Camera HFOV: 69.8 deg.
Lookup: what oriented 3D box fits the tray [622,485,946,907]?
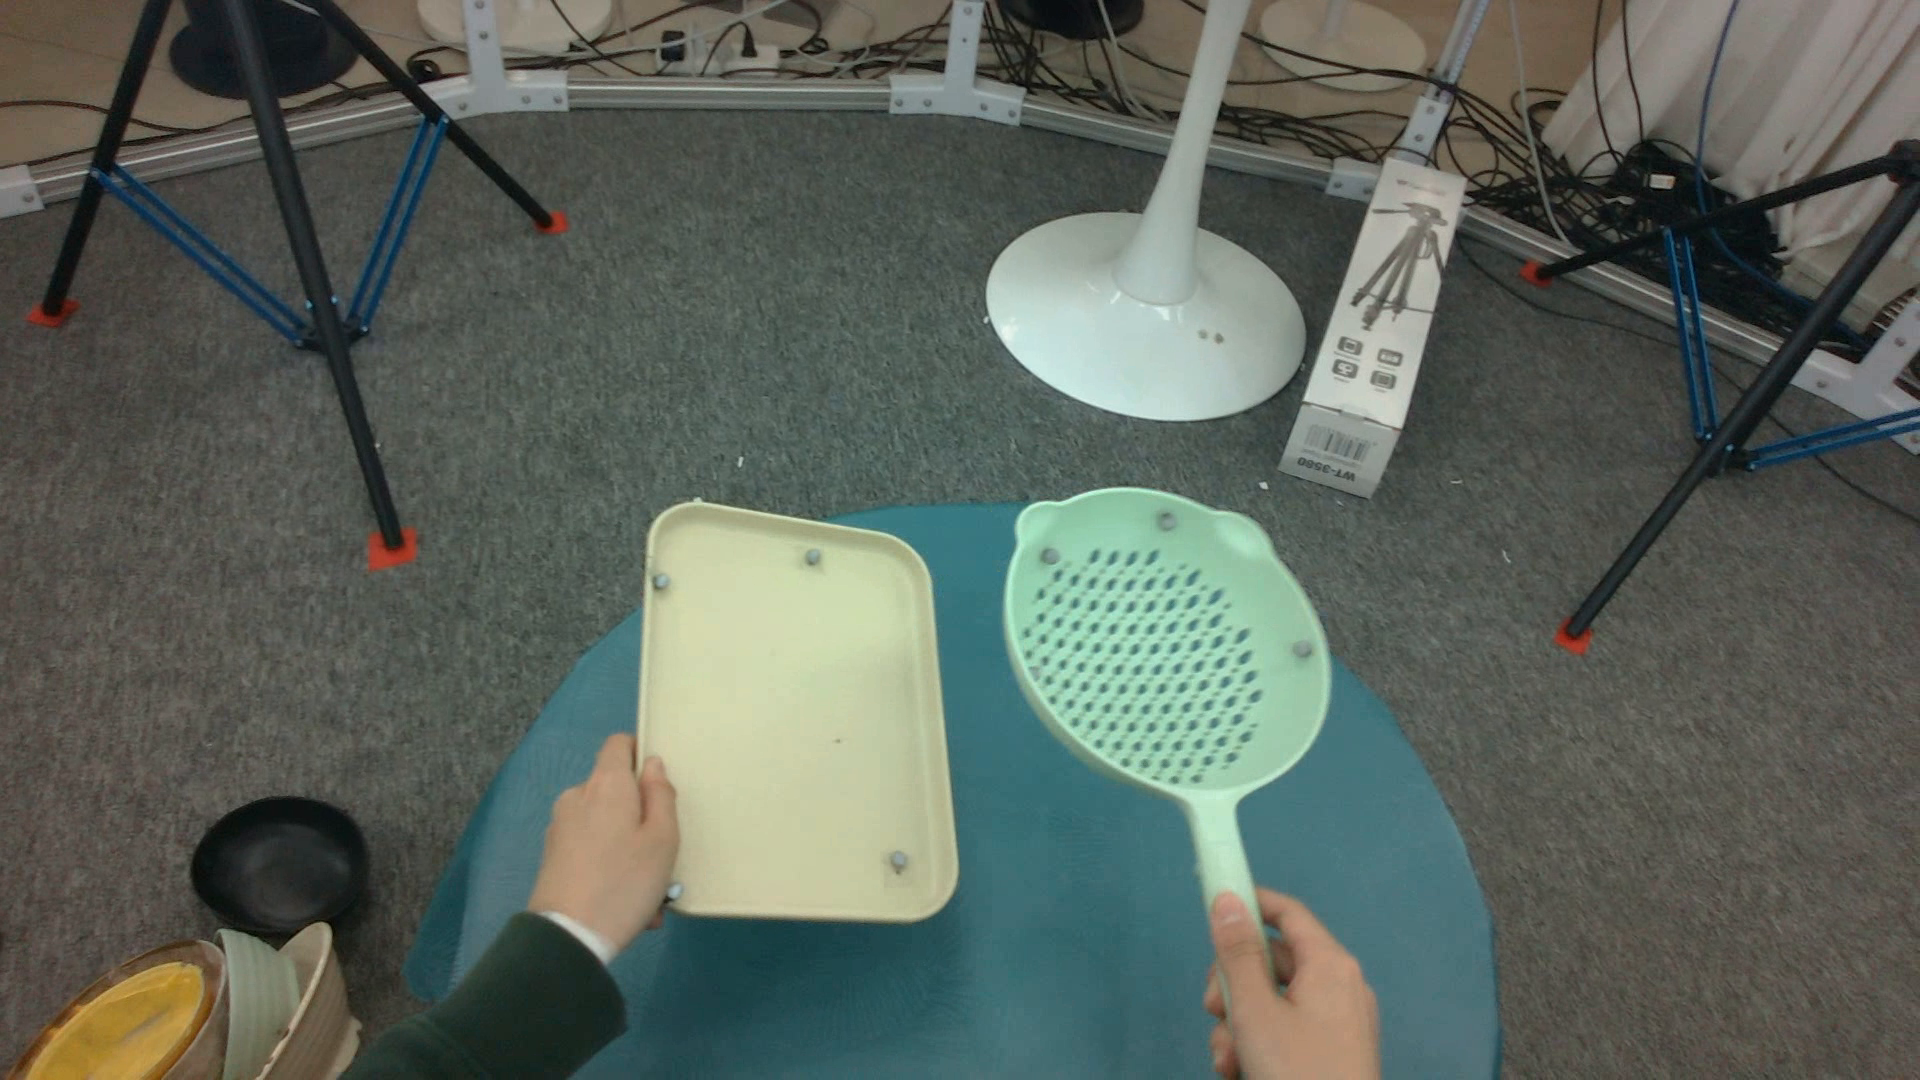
[{"bbox_3d":[-0.097,0.080,0.739,0.171,0.017,0.240,9,53,-24],"label":"tray"}]

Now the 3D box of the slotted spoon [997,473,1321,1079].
[{"bbox_3d":[0.108,0.128,0.636,0.169,0.075,0.360,2,51,-16],"label":"slotted spoon"}]
